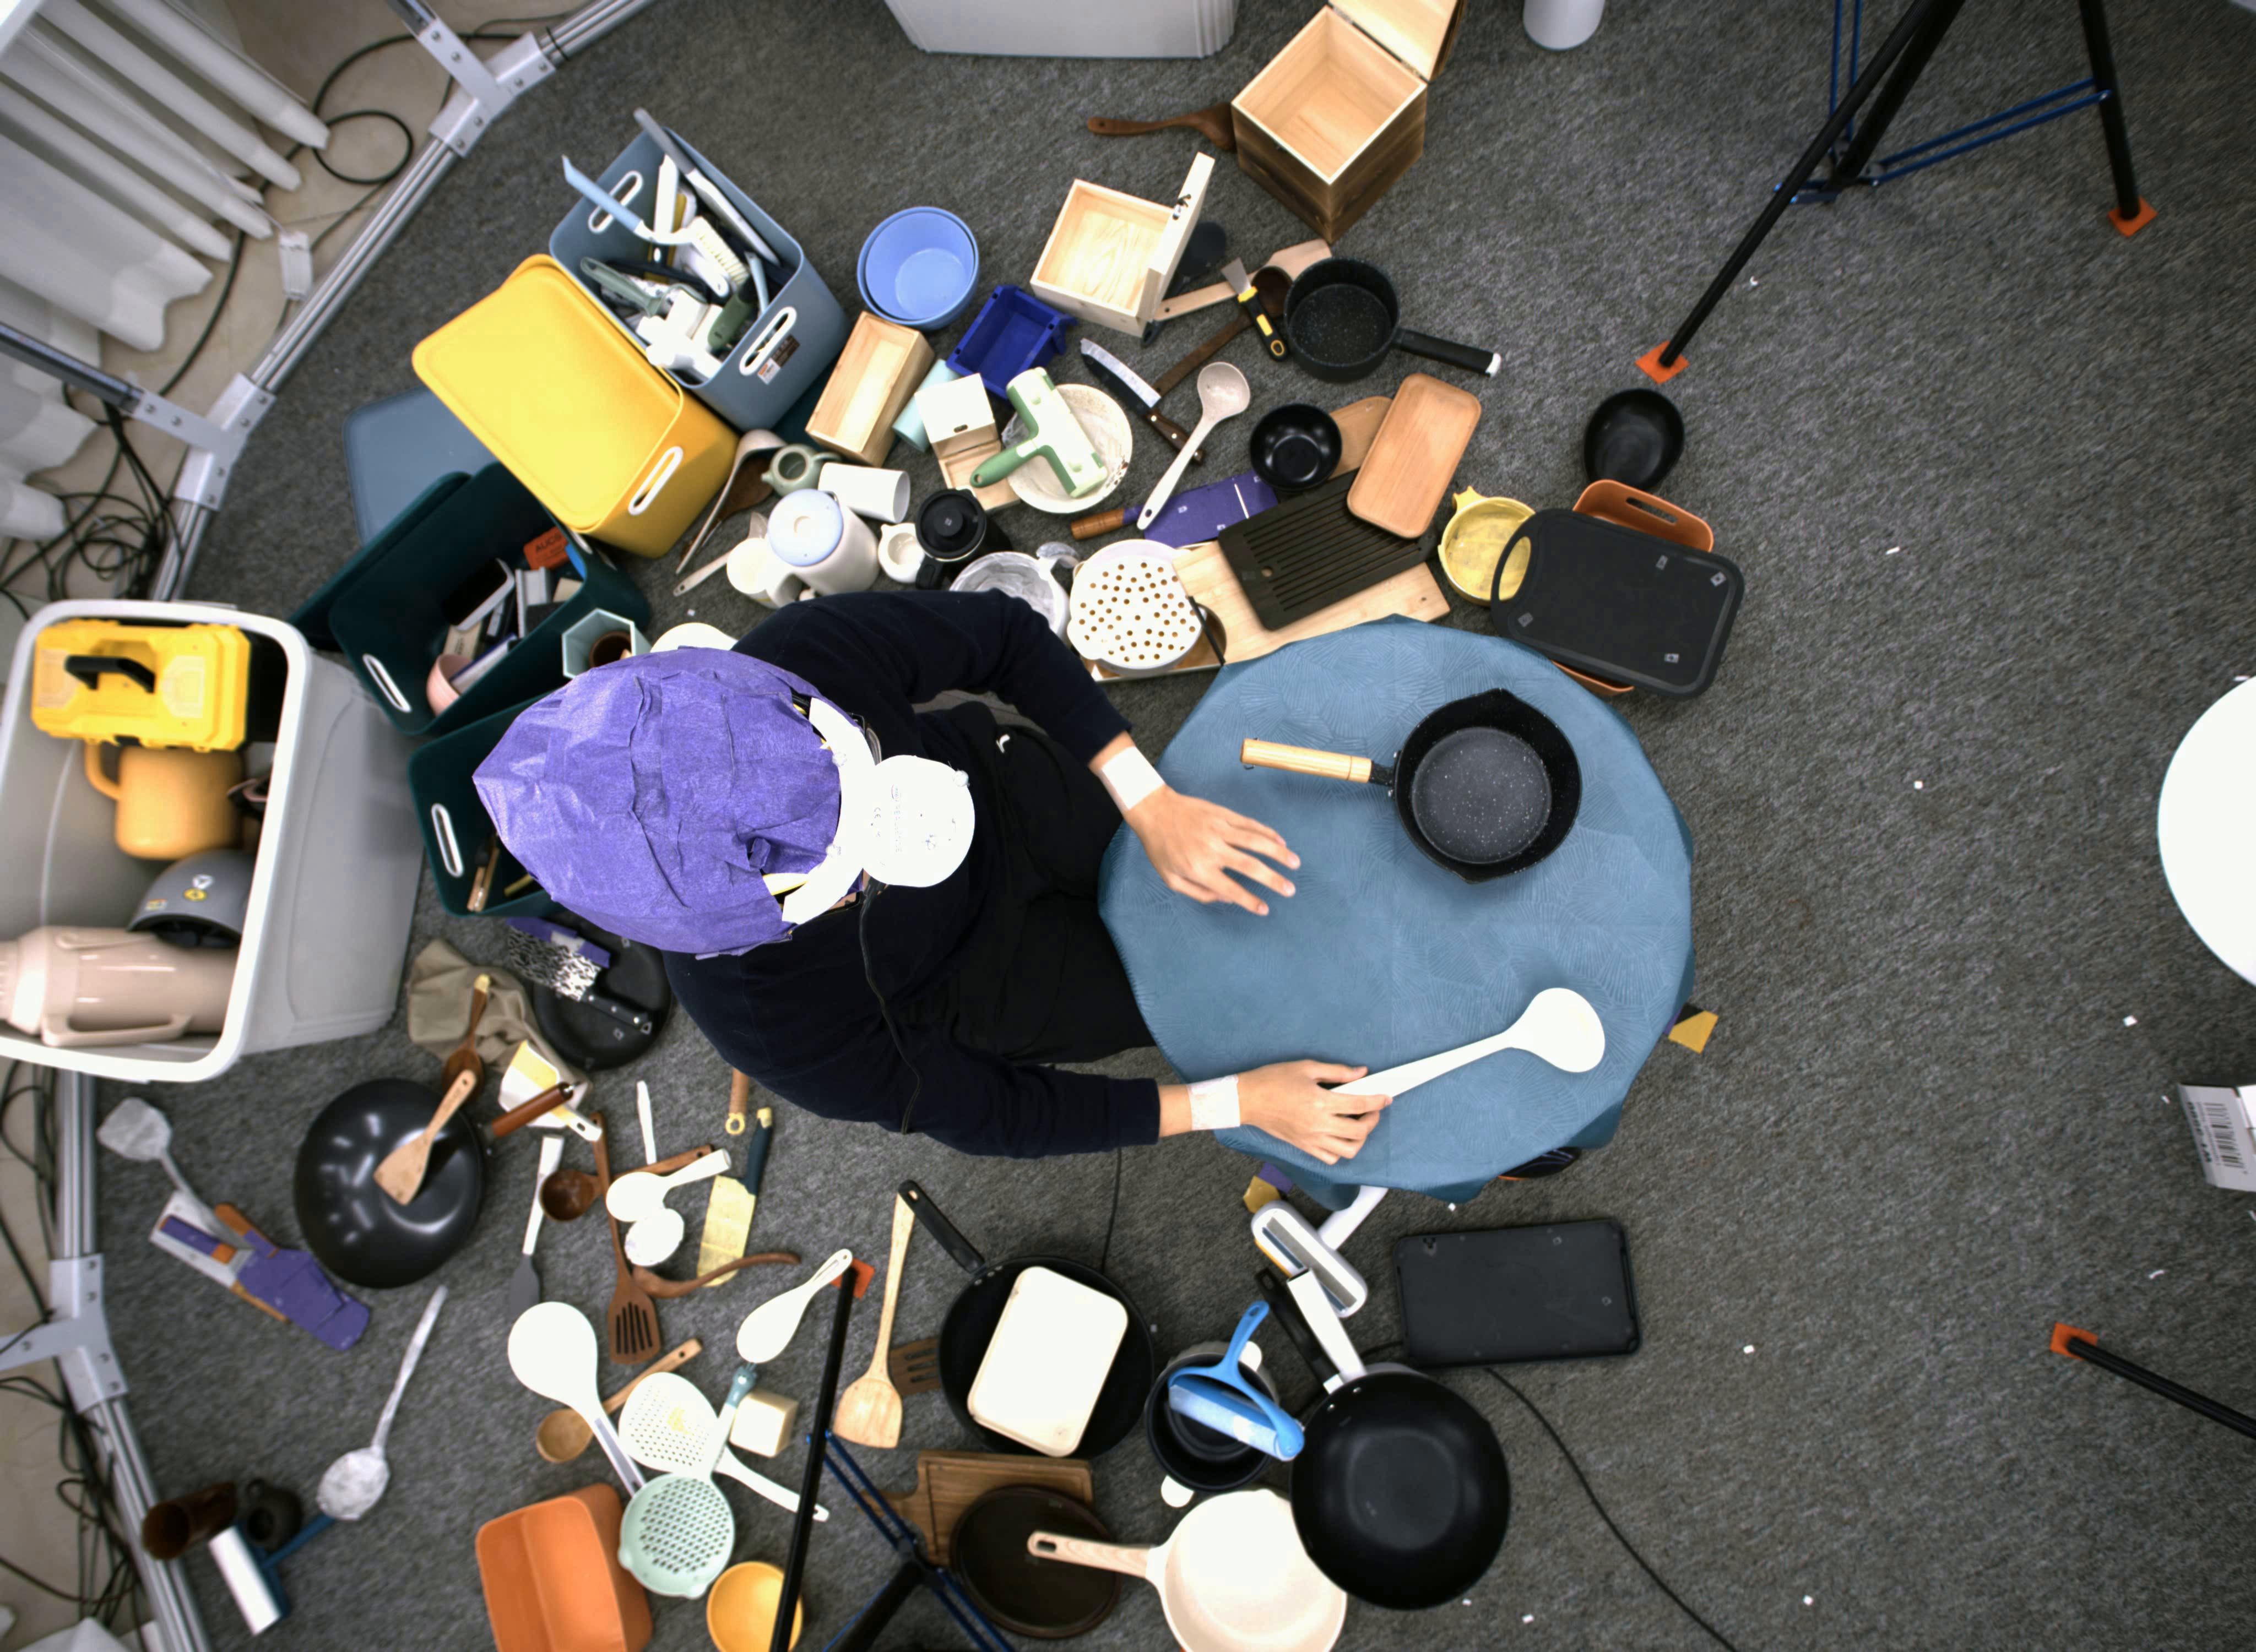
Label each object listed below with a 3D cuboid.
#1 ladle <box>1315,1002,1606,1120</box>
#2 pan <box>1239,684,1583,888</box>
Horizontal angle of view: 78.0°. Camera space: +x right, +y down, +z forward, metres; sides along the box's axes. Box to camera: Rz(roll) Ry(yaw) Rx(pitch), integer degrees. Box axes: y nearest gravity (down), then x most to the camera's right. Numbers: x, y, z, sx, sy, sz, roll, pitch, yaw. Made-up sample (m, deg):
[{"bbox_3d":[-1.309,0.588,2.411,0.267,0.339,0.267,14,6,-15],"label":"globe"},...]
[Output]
[{"bbox_3d":[0.336,0.248,1.408,0.295,0.069,0.091,-19,105,10],"label":"ladle"},{"bbox_3d":[0.285,-0.049,1.409,0.343,0.108,0.207,7,89,9],"label":"pan"}]
